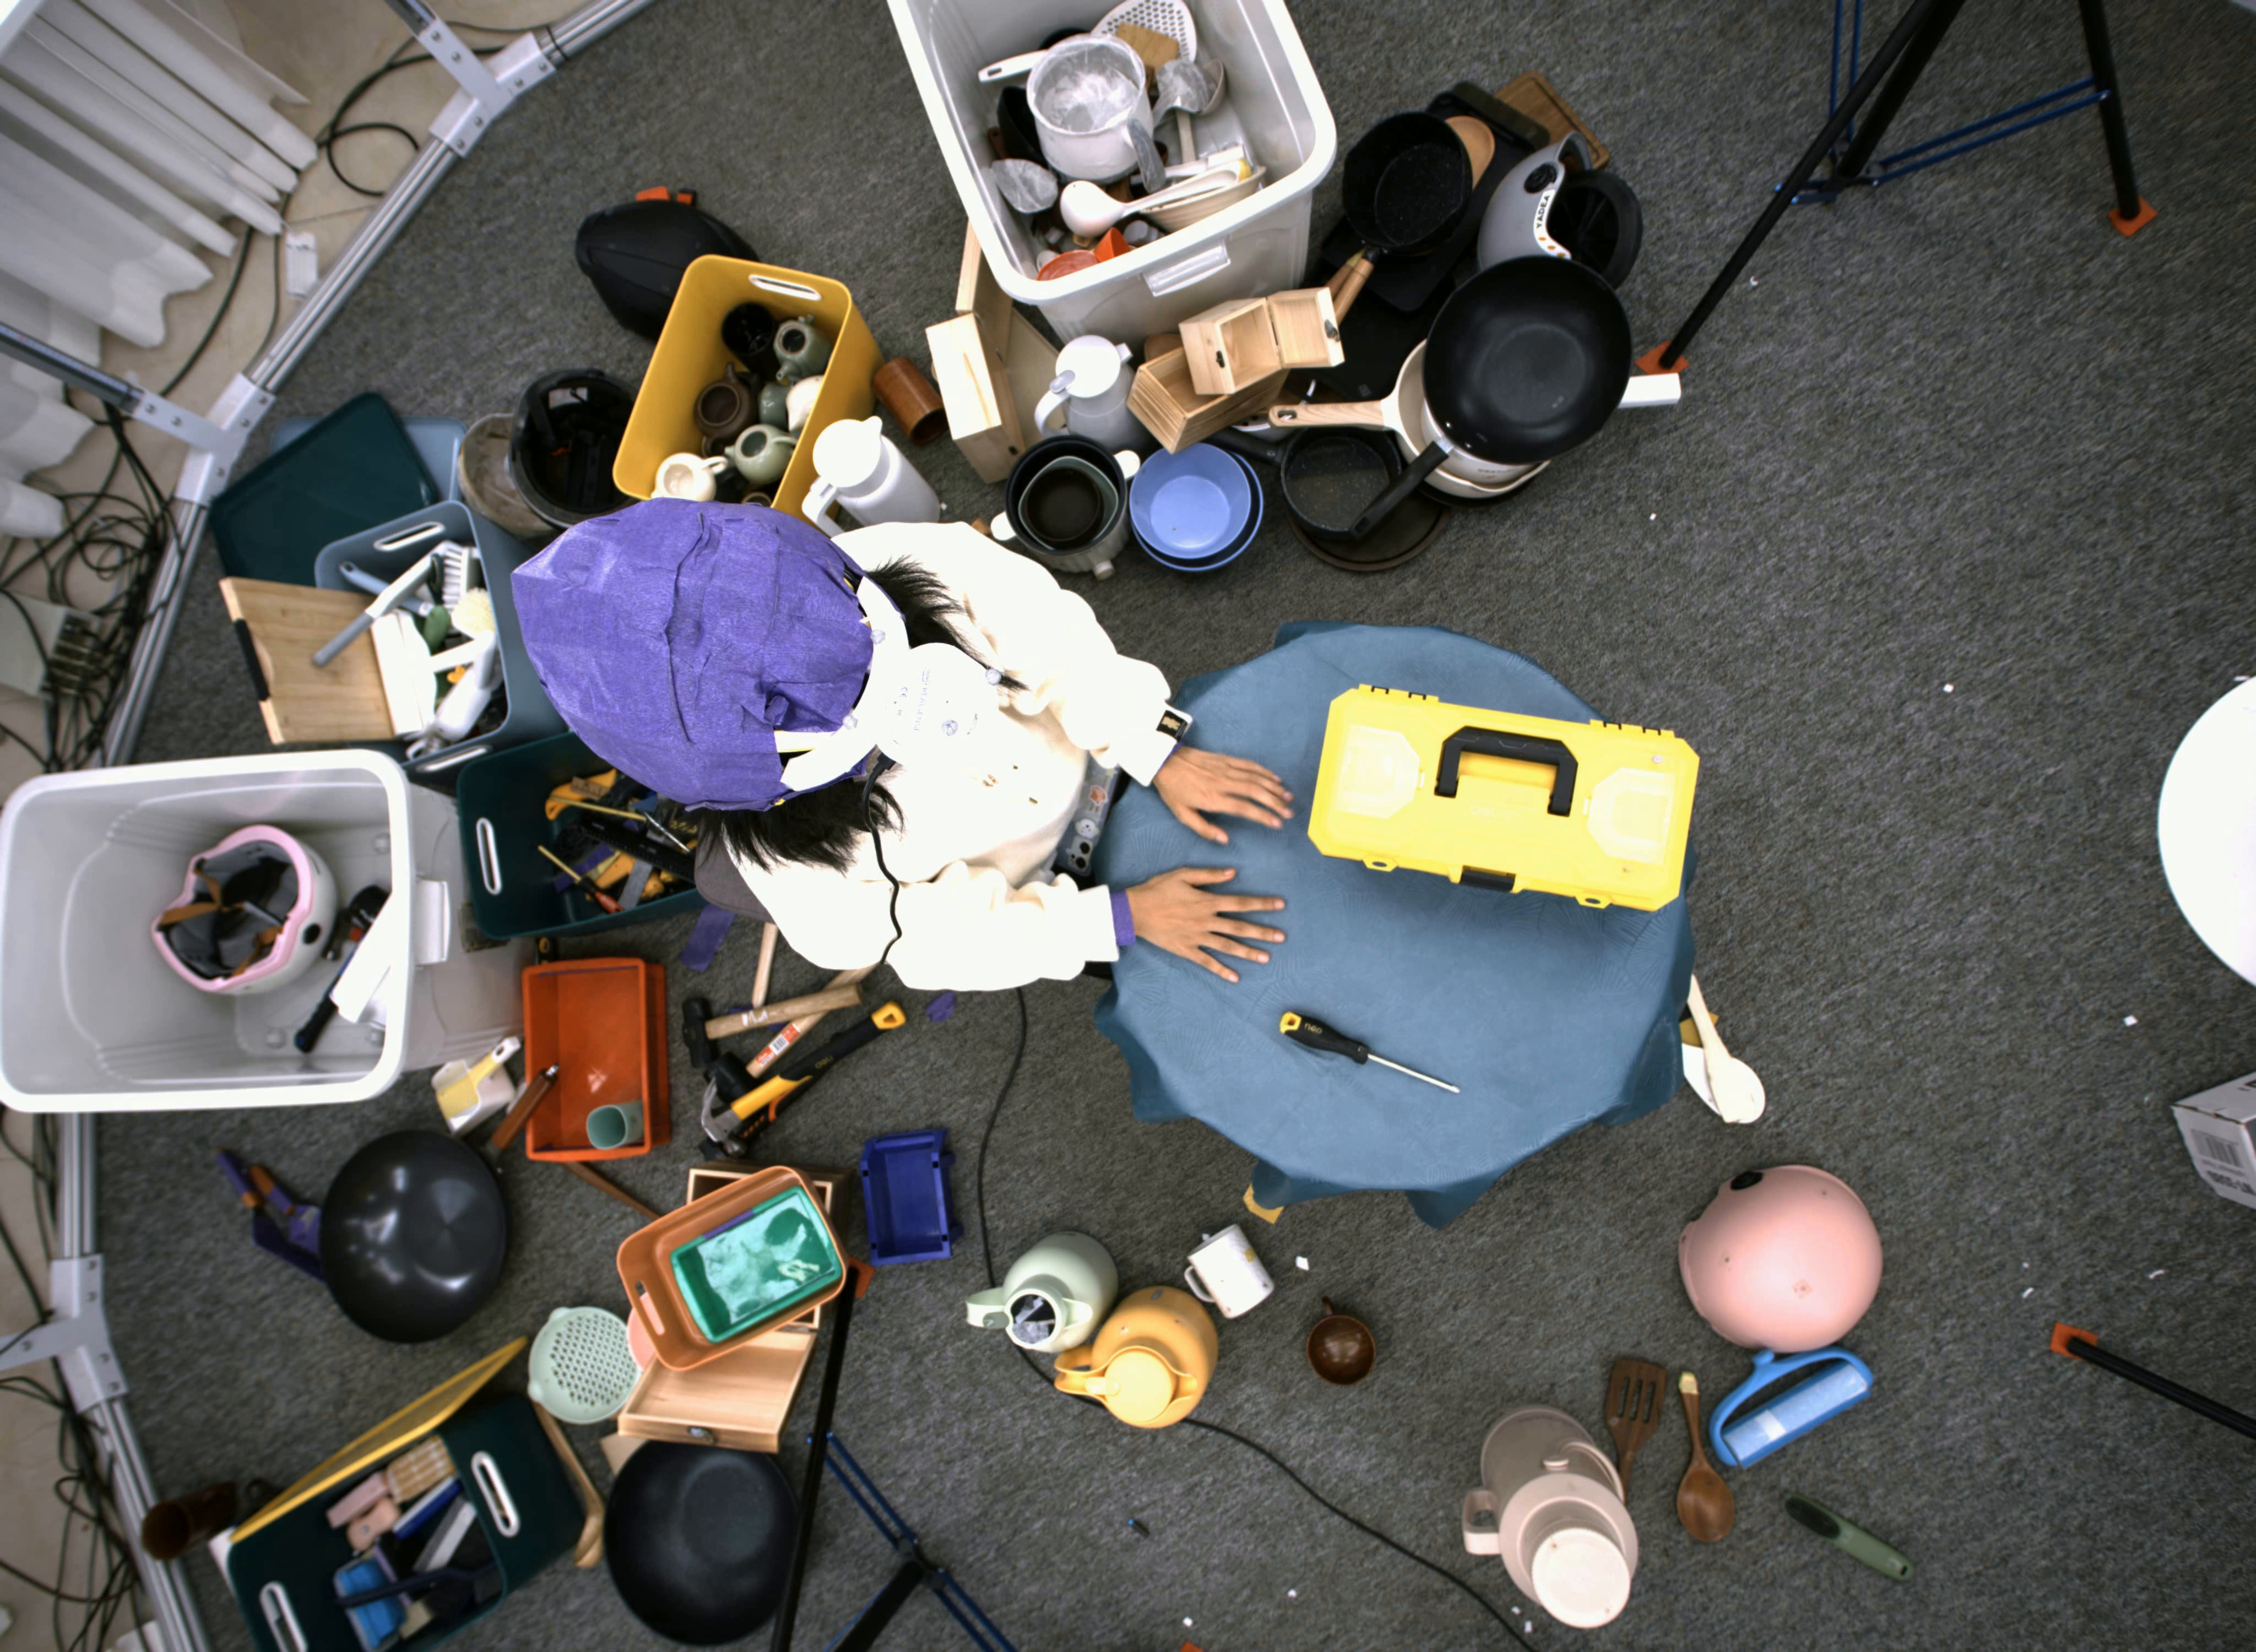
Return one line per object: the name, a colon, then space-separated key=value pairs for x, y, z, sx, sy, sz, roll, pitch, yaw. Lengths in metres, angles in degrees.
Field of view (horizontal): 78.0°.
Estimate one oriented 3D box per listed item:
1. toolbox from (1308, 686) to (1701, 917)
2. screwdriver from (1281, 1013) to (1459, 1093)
toolbox: x=0.364 y=-0.024 z=1.360 sx=0.352 sy=0.173 sz=0.181 roll=10 pitch=87 yaw=11
screwdriver: x=0.252 y=0.237 z=1.438 sx=0.196 sy=0.031 sz=0.031 roll=21 pitch=89 yaw=9
